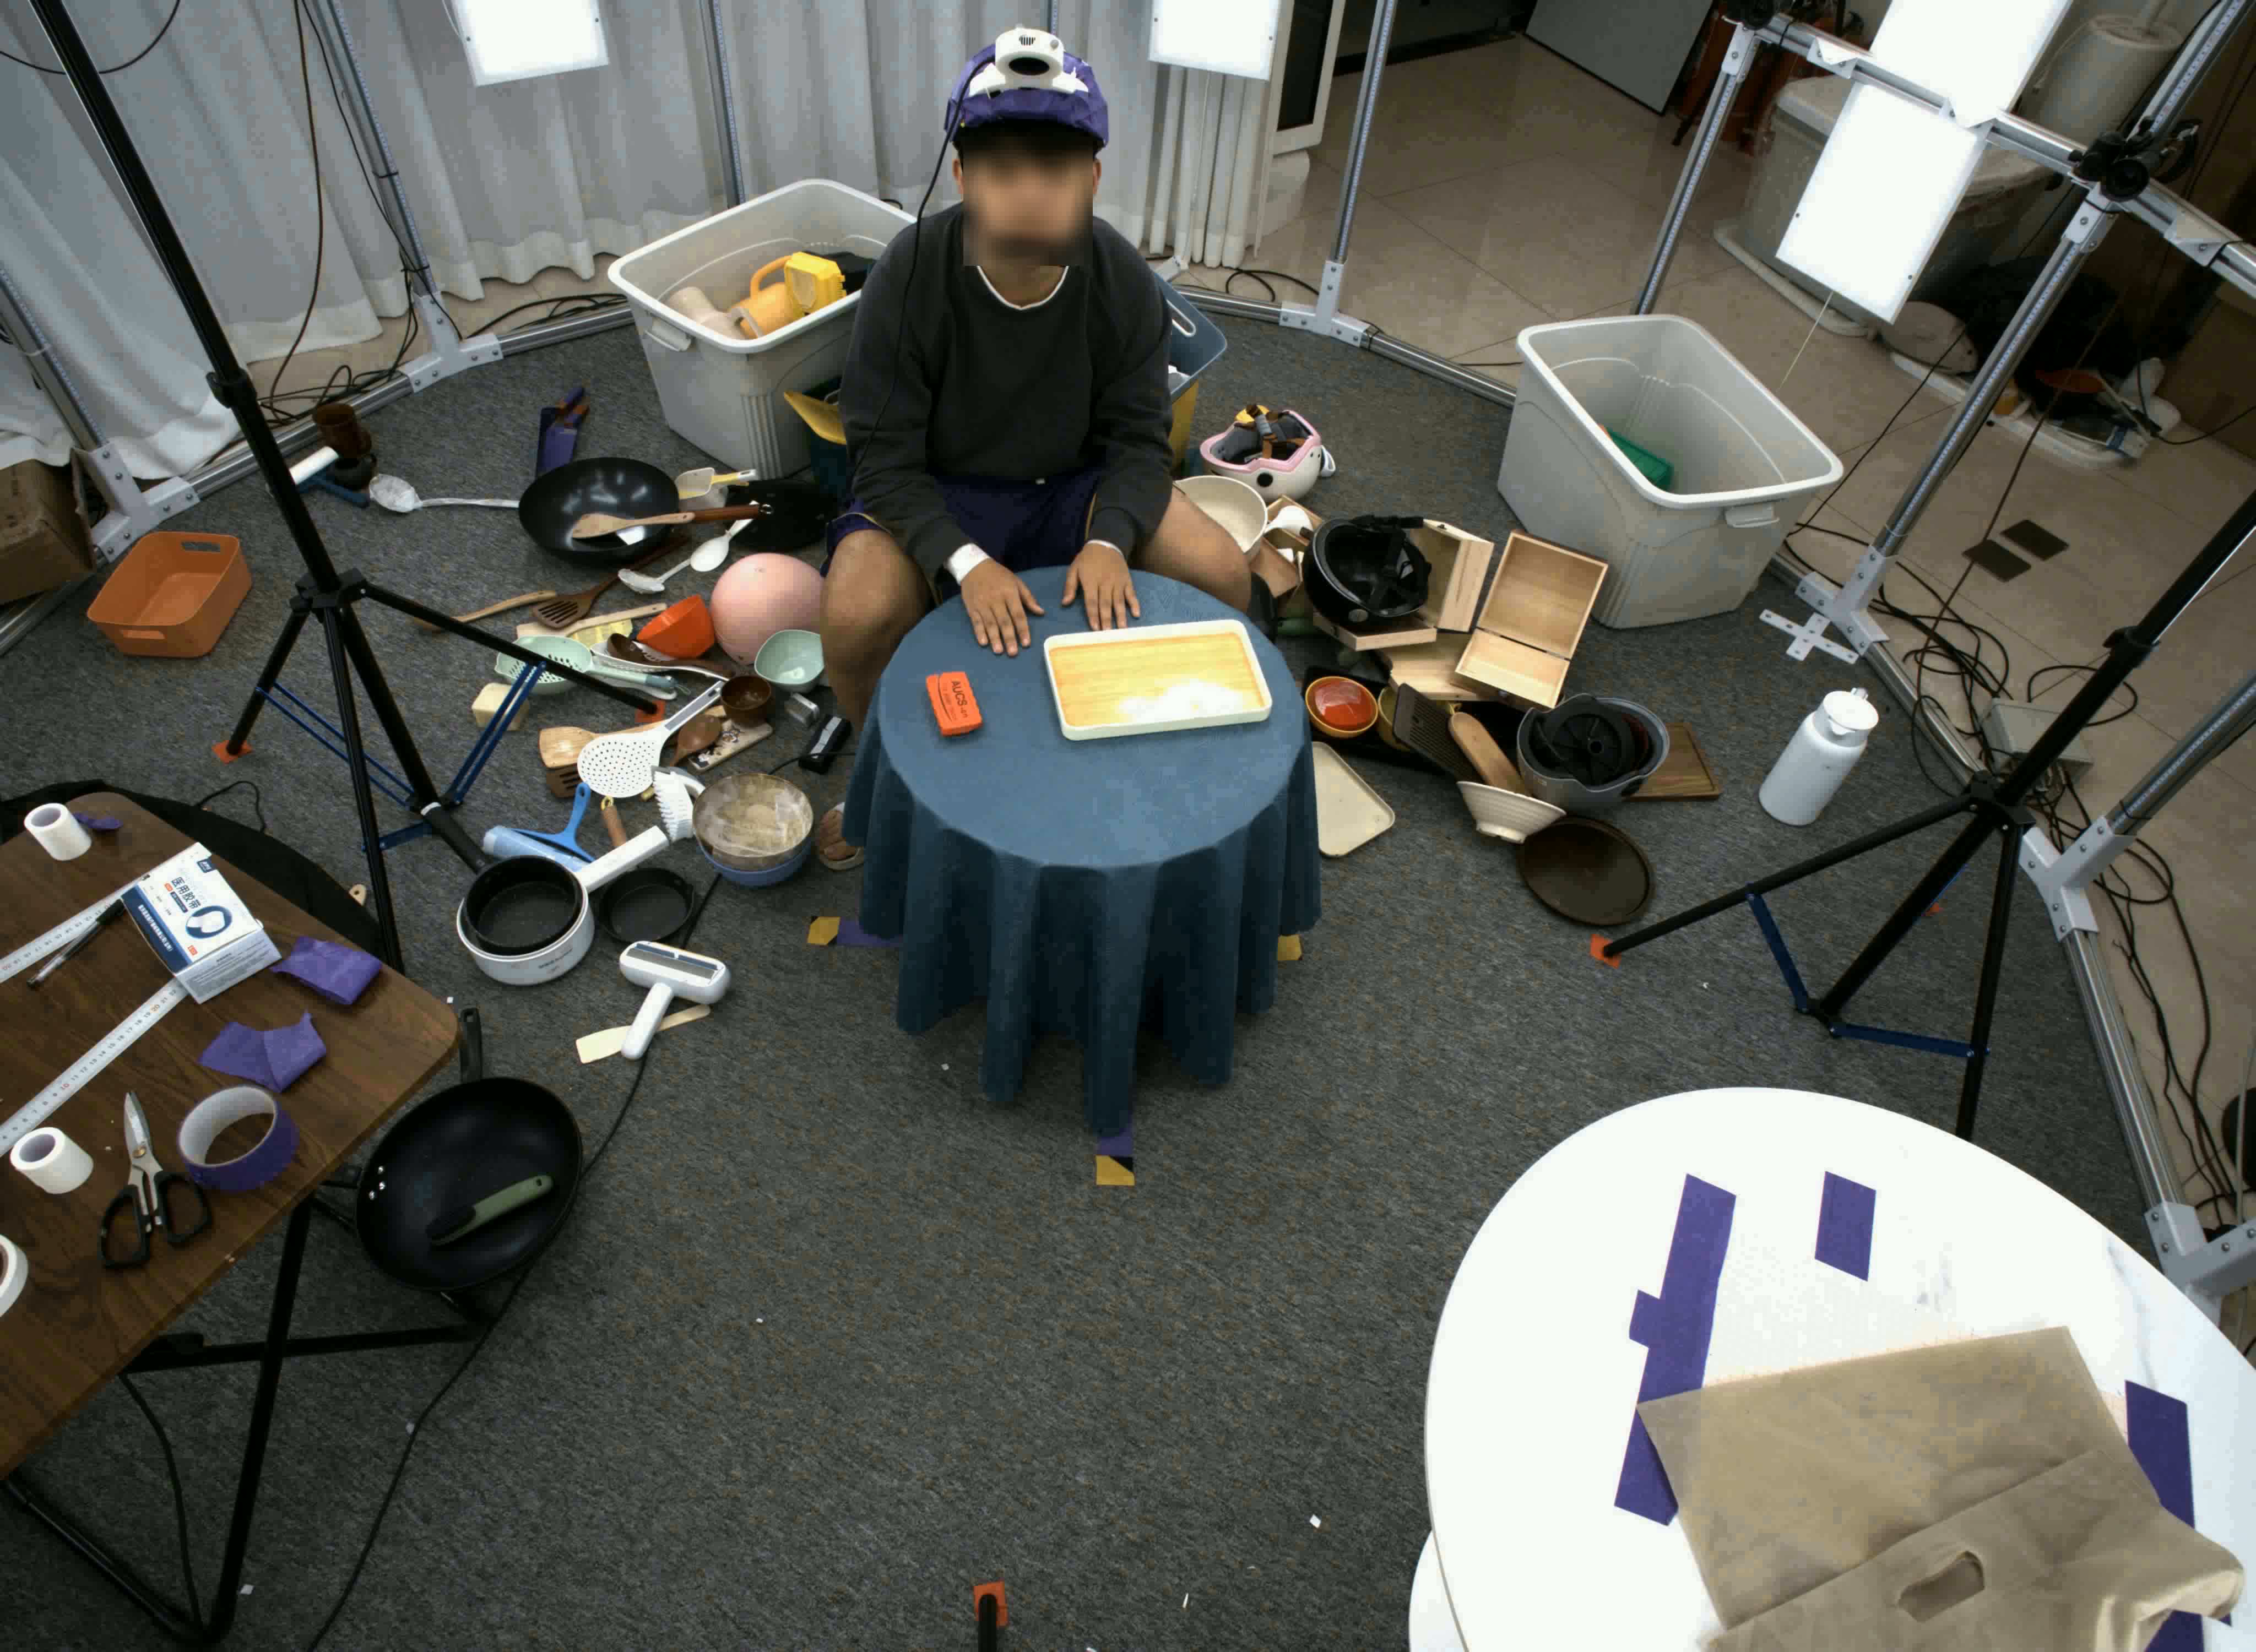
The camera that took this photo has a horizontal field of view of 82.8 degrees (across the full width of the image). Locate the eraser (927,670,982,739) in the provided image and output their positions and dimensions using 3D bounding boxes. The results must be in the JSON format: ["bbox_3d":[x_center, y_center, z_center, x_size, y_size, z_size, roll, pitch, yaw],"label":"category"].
[{"bbox_3d":[-0.241,-0.169,1.781,0.059,0.022,0.110,-12,50,-12],"label":"eraser"}]

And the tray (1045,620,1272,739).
[{"bbox_3d":[0.041,-0.213,1.836,0.300,0.027,0.196,-6,50,-9],"label":"tray"}]
